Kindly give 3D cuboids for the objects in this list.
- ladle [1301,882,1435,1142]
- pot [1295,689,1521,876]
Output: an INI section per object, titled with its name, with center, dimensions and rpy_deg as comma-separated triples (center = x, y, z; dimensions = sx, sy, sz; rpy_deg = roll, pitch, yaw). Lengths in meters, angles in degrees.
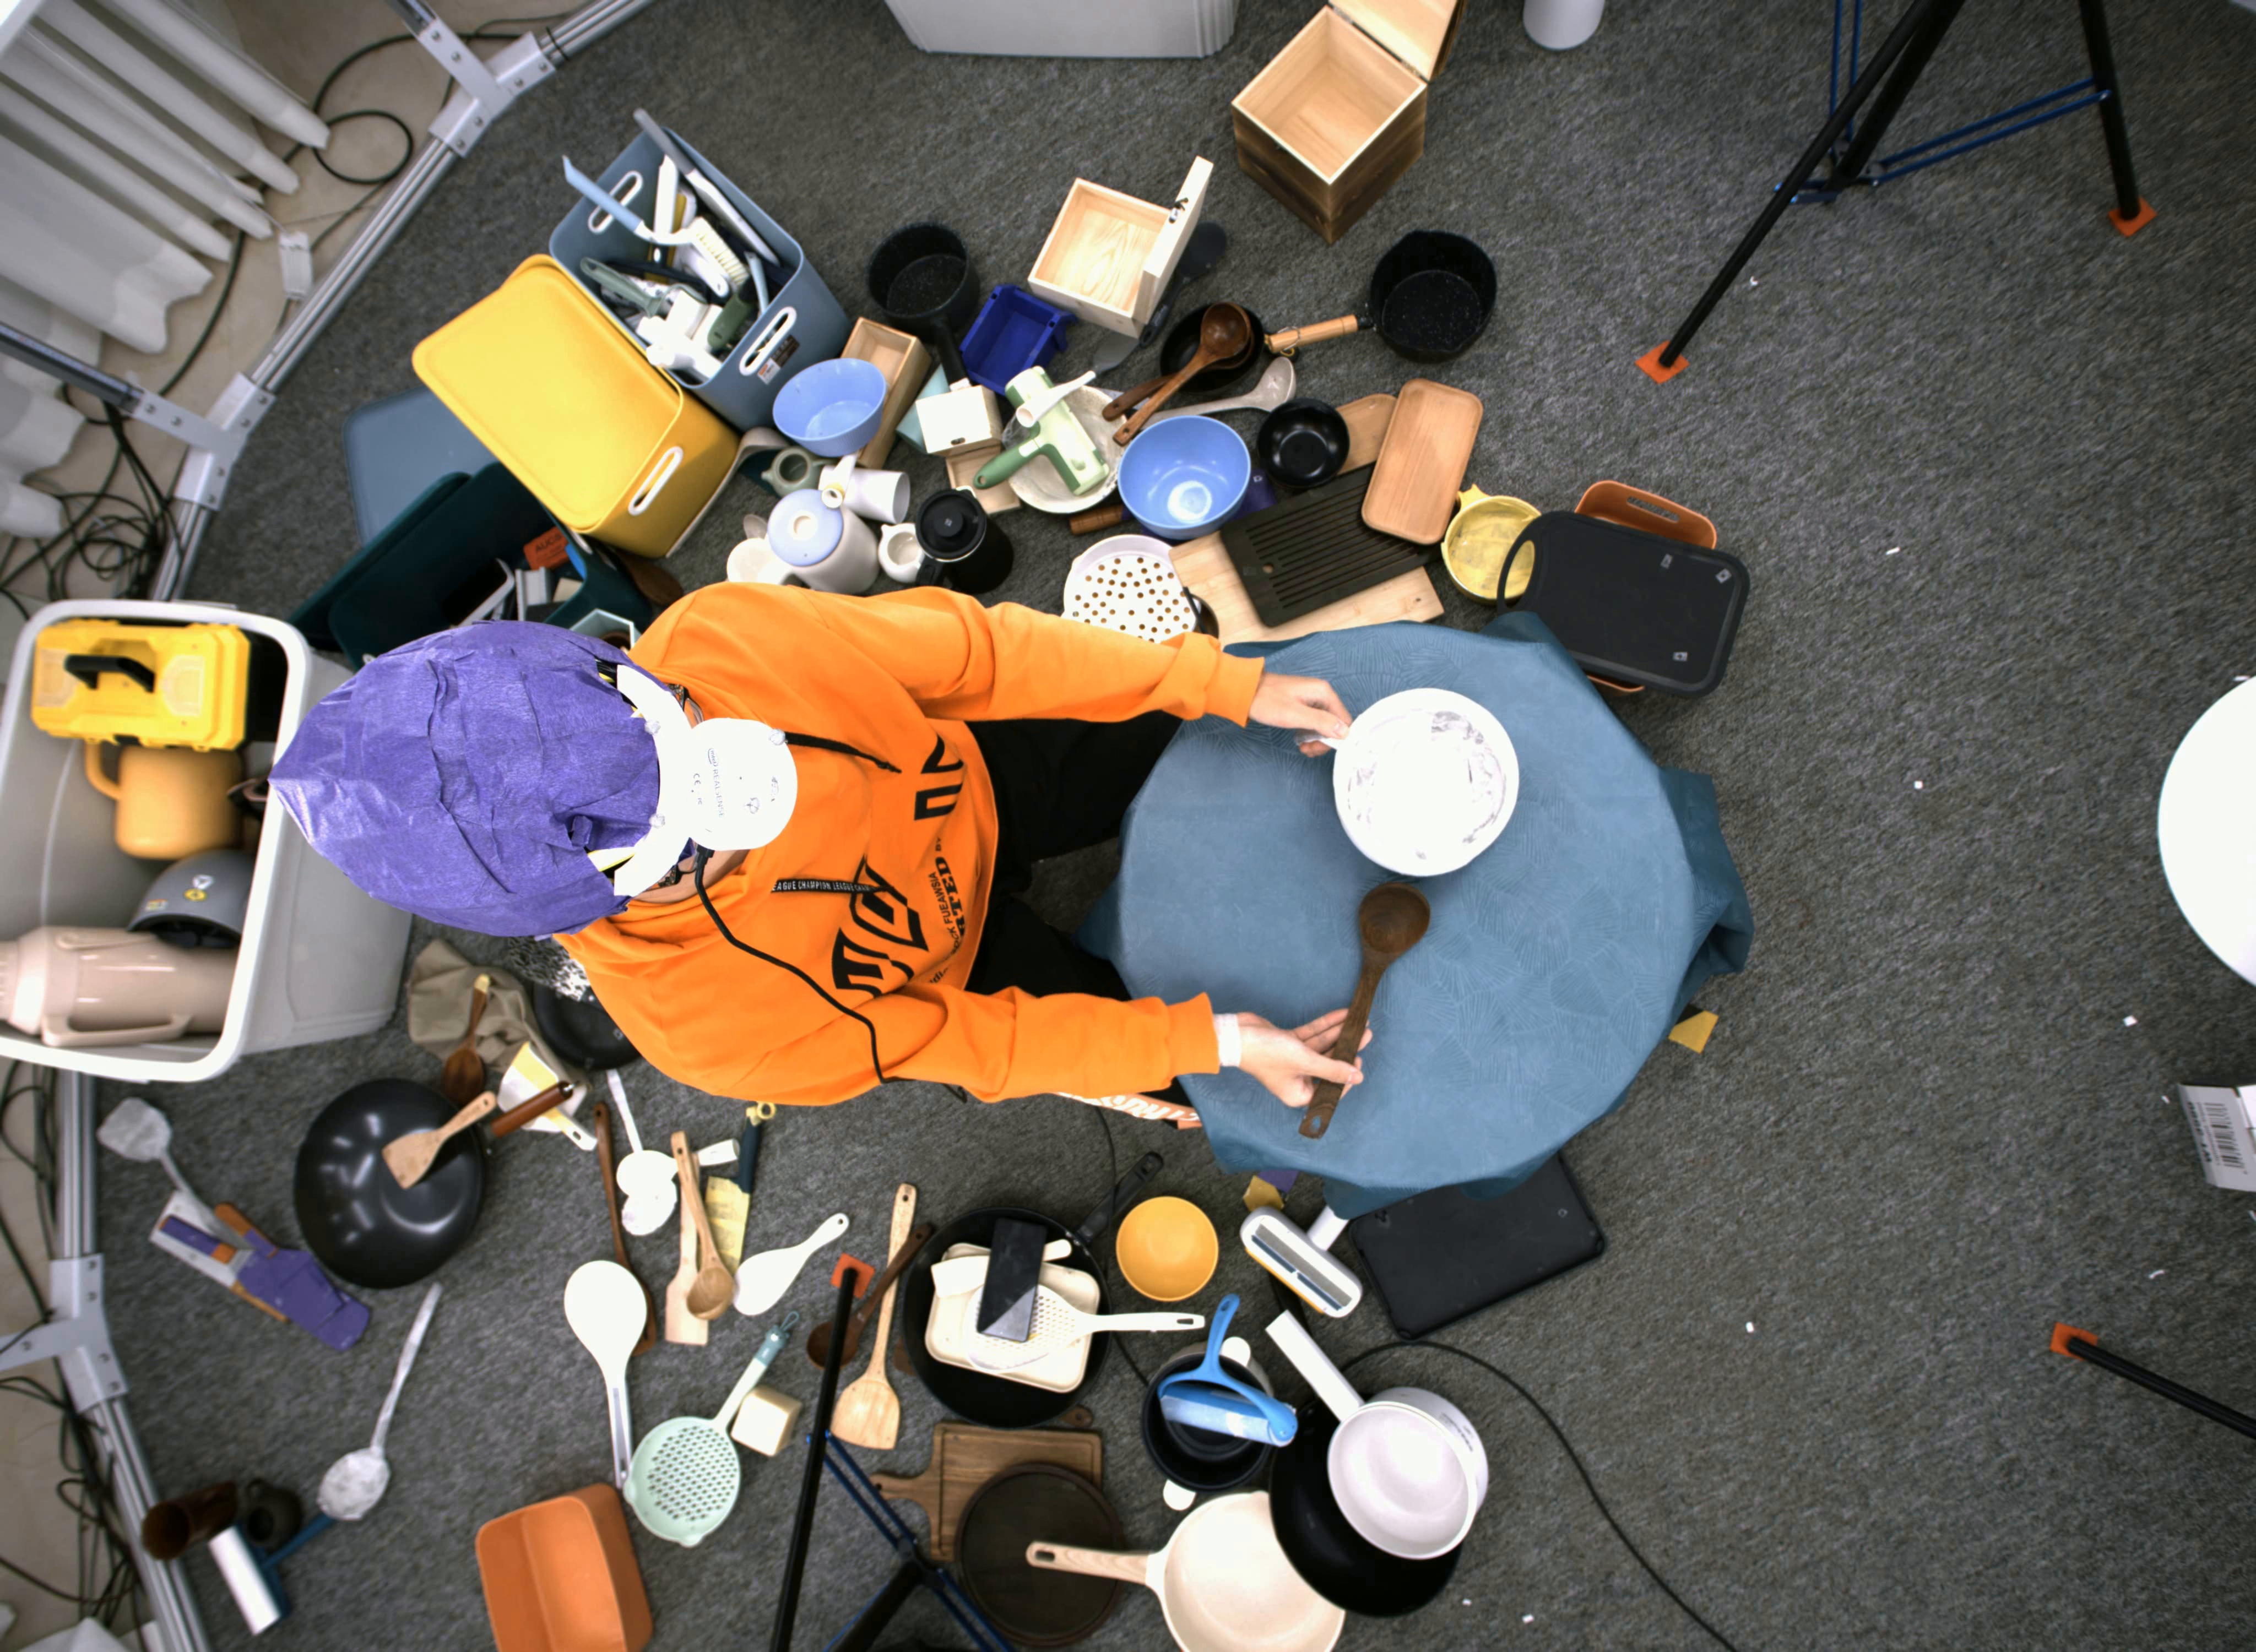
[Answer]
[ladle]
center = 0.238, 0.184, 1.399
dimensions = 0.076, 0.072, 0.269
rpy_deg = 22, 72, 6
[pot]
center = 0.275, -0.054, 1.396
dimensions = 0.233, 0.137, 0.179
rpy_deg = 28, 91, 11
